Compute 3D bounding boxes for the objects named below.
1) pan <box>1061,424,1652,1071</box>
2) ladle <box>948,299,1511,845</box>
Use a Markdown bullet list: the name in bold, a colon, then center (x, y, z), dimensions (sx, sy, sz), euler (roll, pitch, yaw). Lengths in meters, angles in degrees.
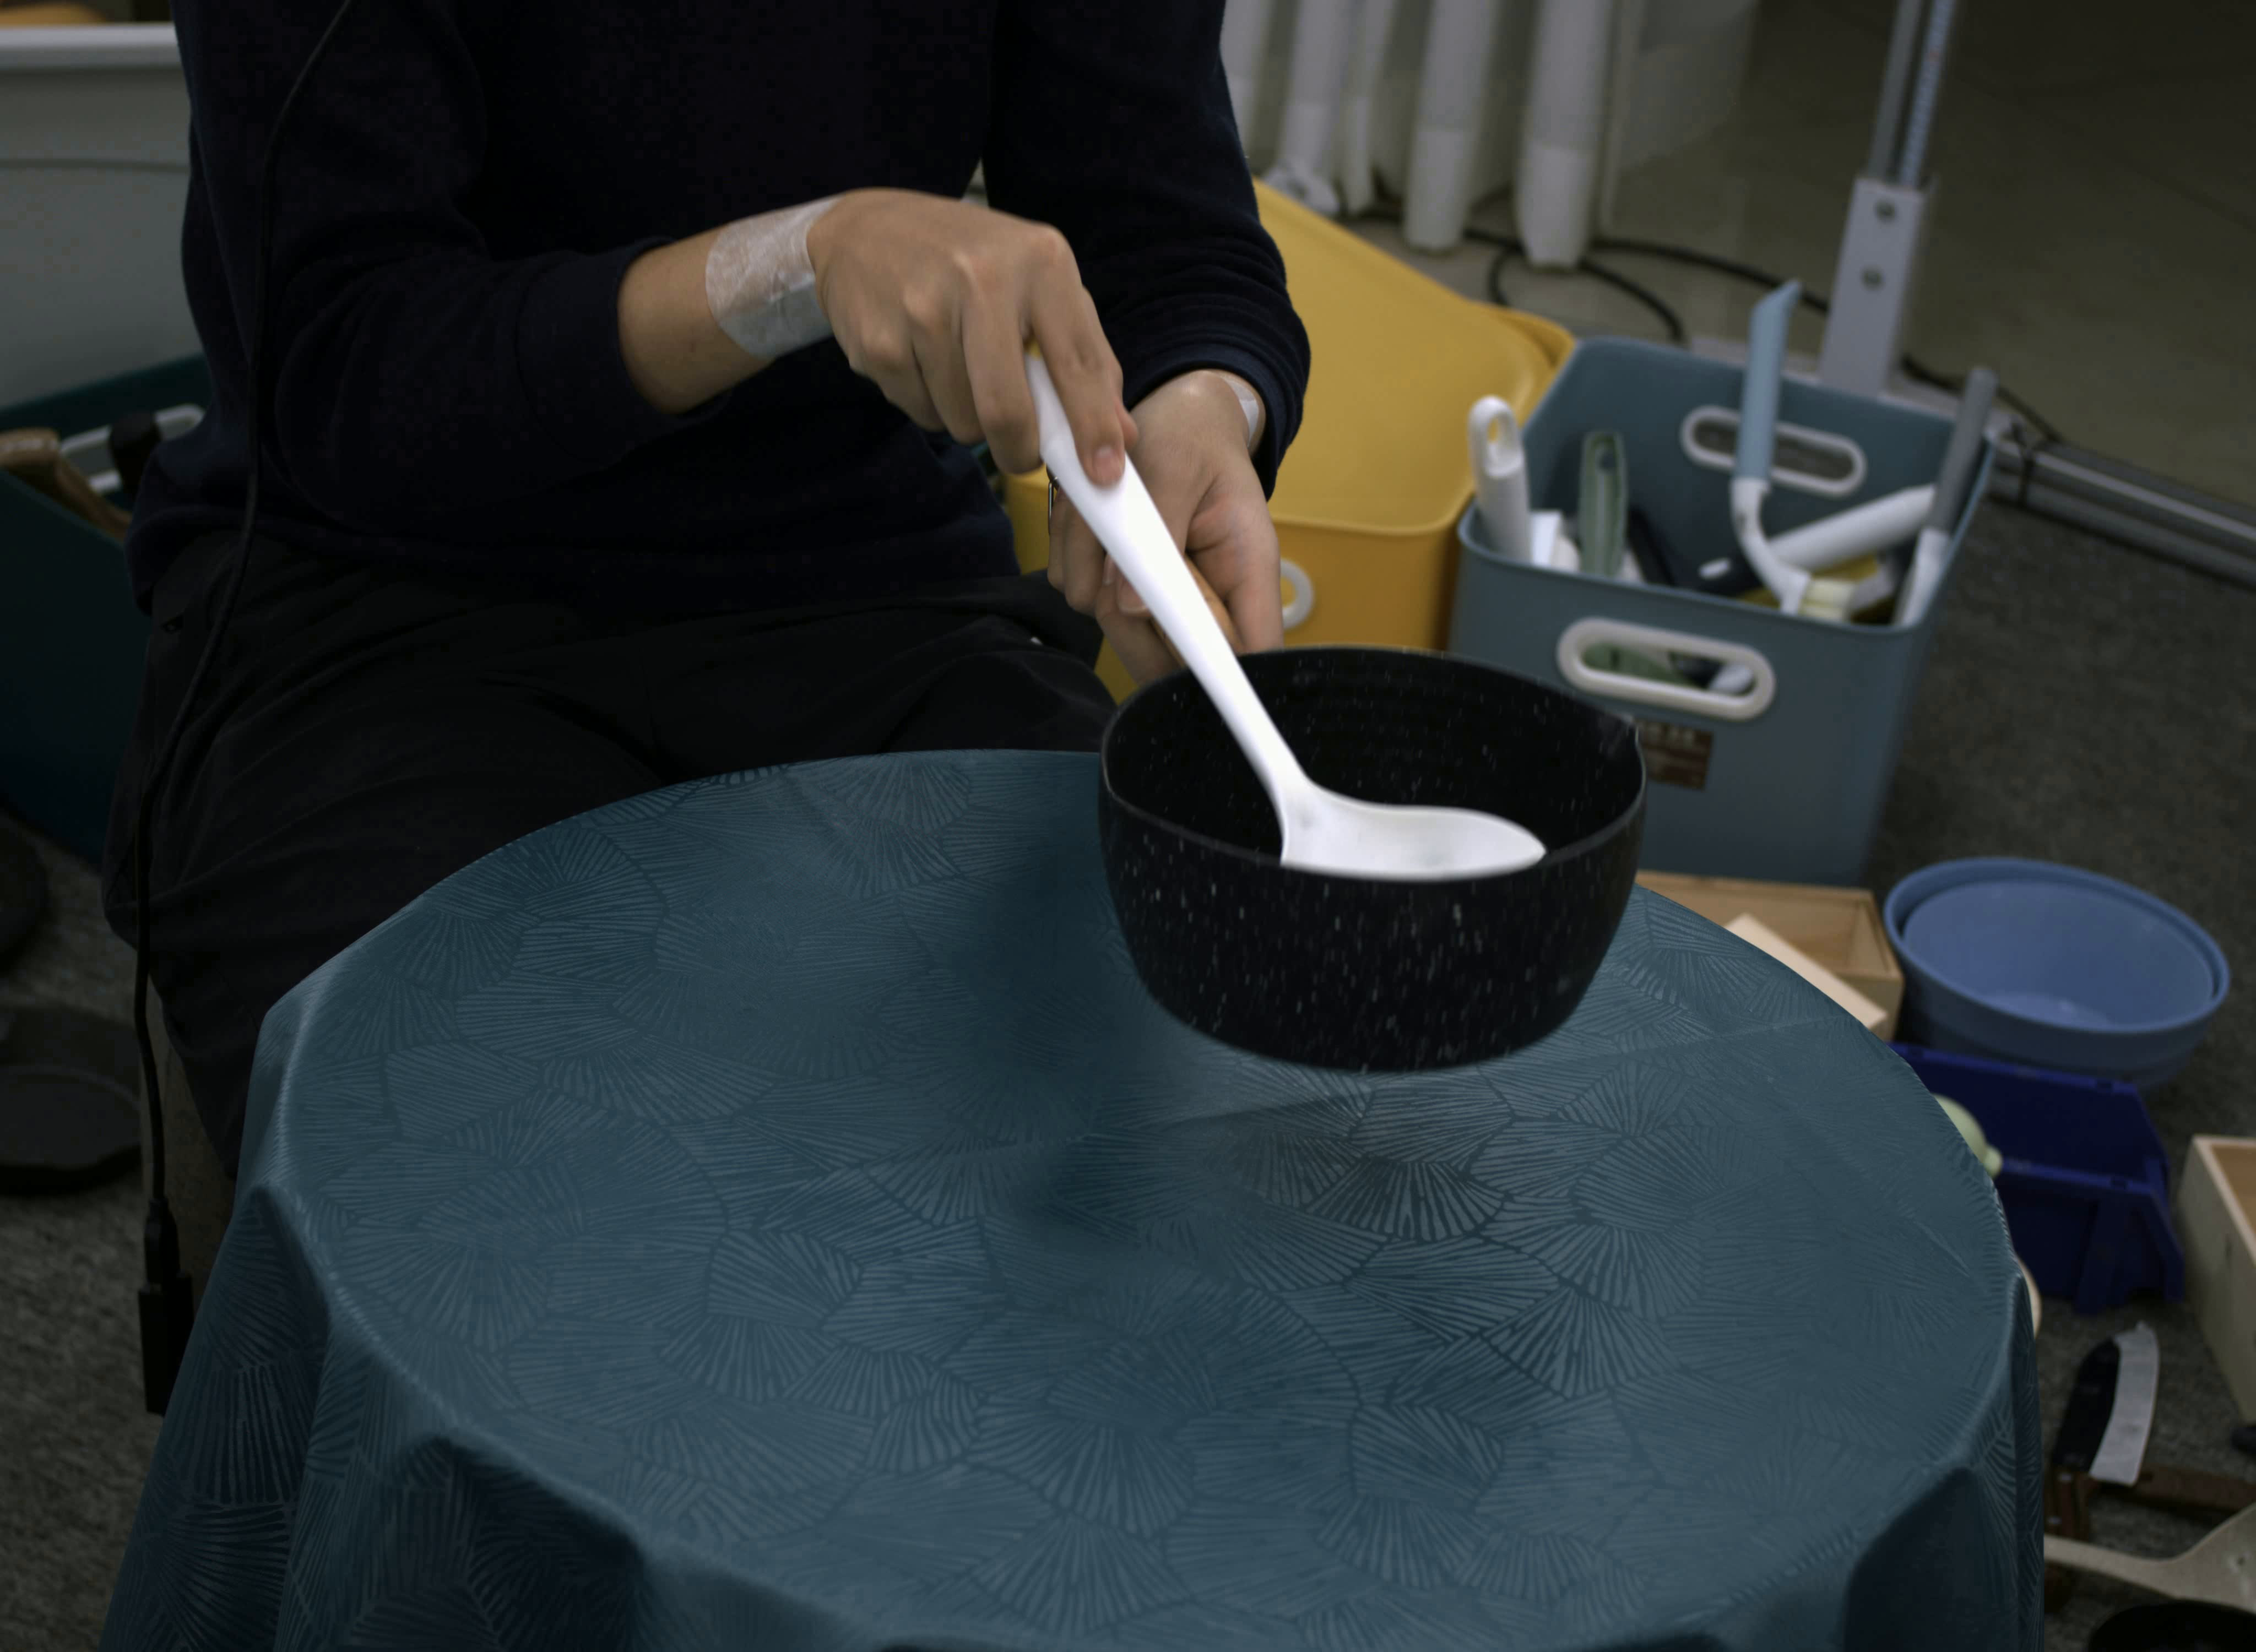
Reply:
- **pan**: center (0.047, -0.031, 1.853), dimensions (0.206, 0.108, 0.346), euler (-10, 29, -23)
- **ladle**: center (0.025, -0.074, 1.820), dimensions (0.090, 0.069, 0.295), euler (-22, 65, -24)
